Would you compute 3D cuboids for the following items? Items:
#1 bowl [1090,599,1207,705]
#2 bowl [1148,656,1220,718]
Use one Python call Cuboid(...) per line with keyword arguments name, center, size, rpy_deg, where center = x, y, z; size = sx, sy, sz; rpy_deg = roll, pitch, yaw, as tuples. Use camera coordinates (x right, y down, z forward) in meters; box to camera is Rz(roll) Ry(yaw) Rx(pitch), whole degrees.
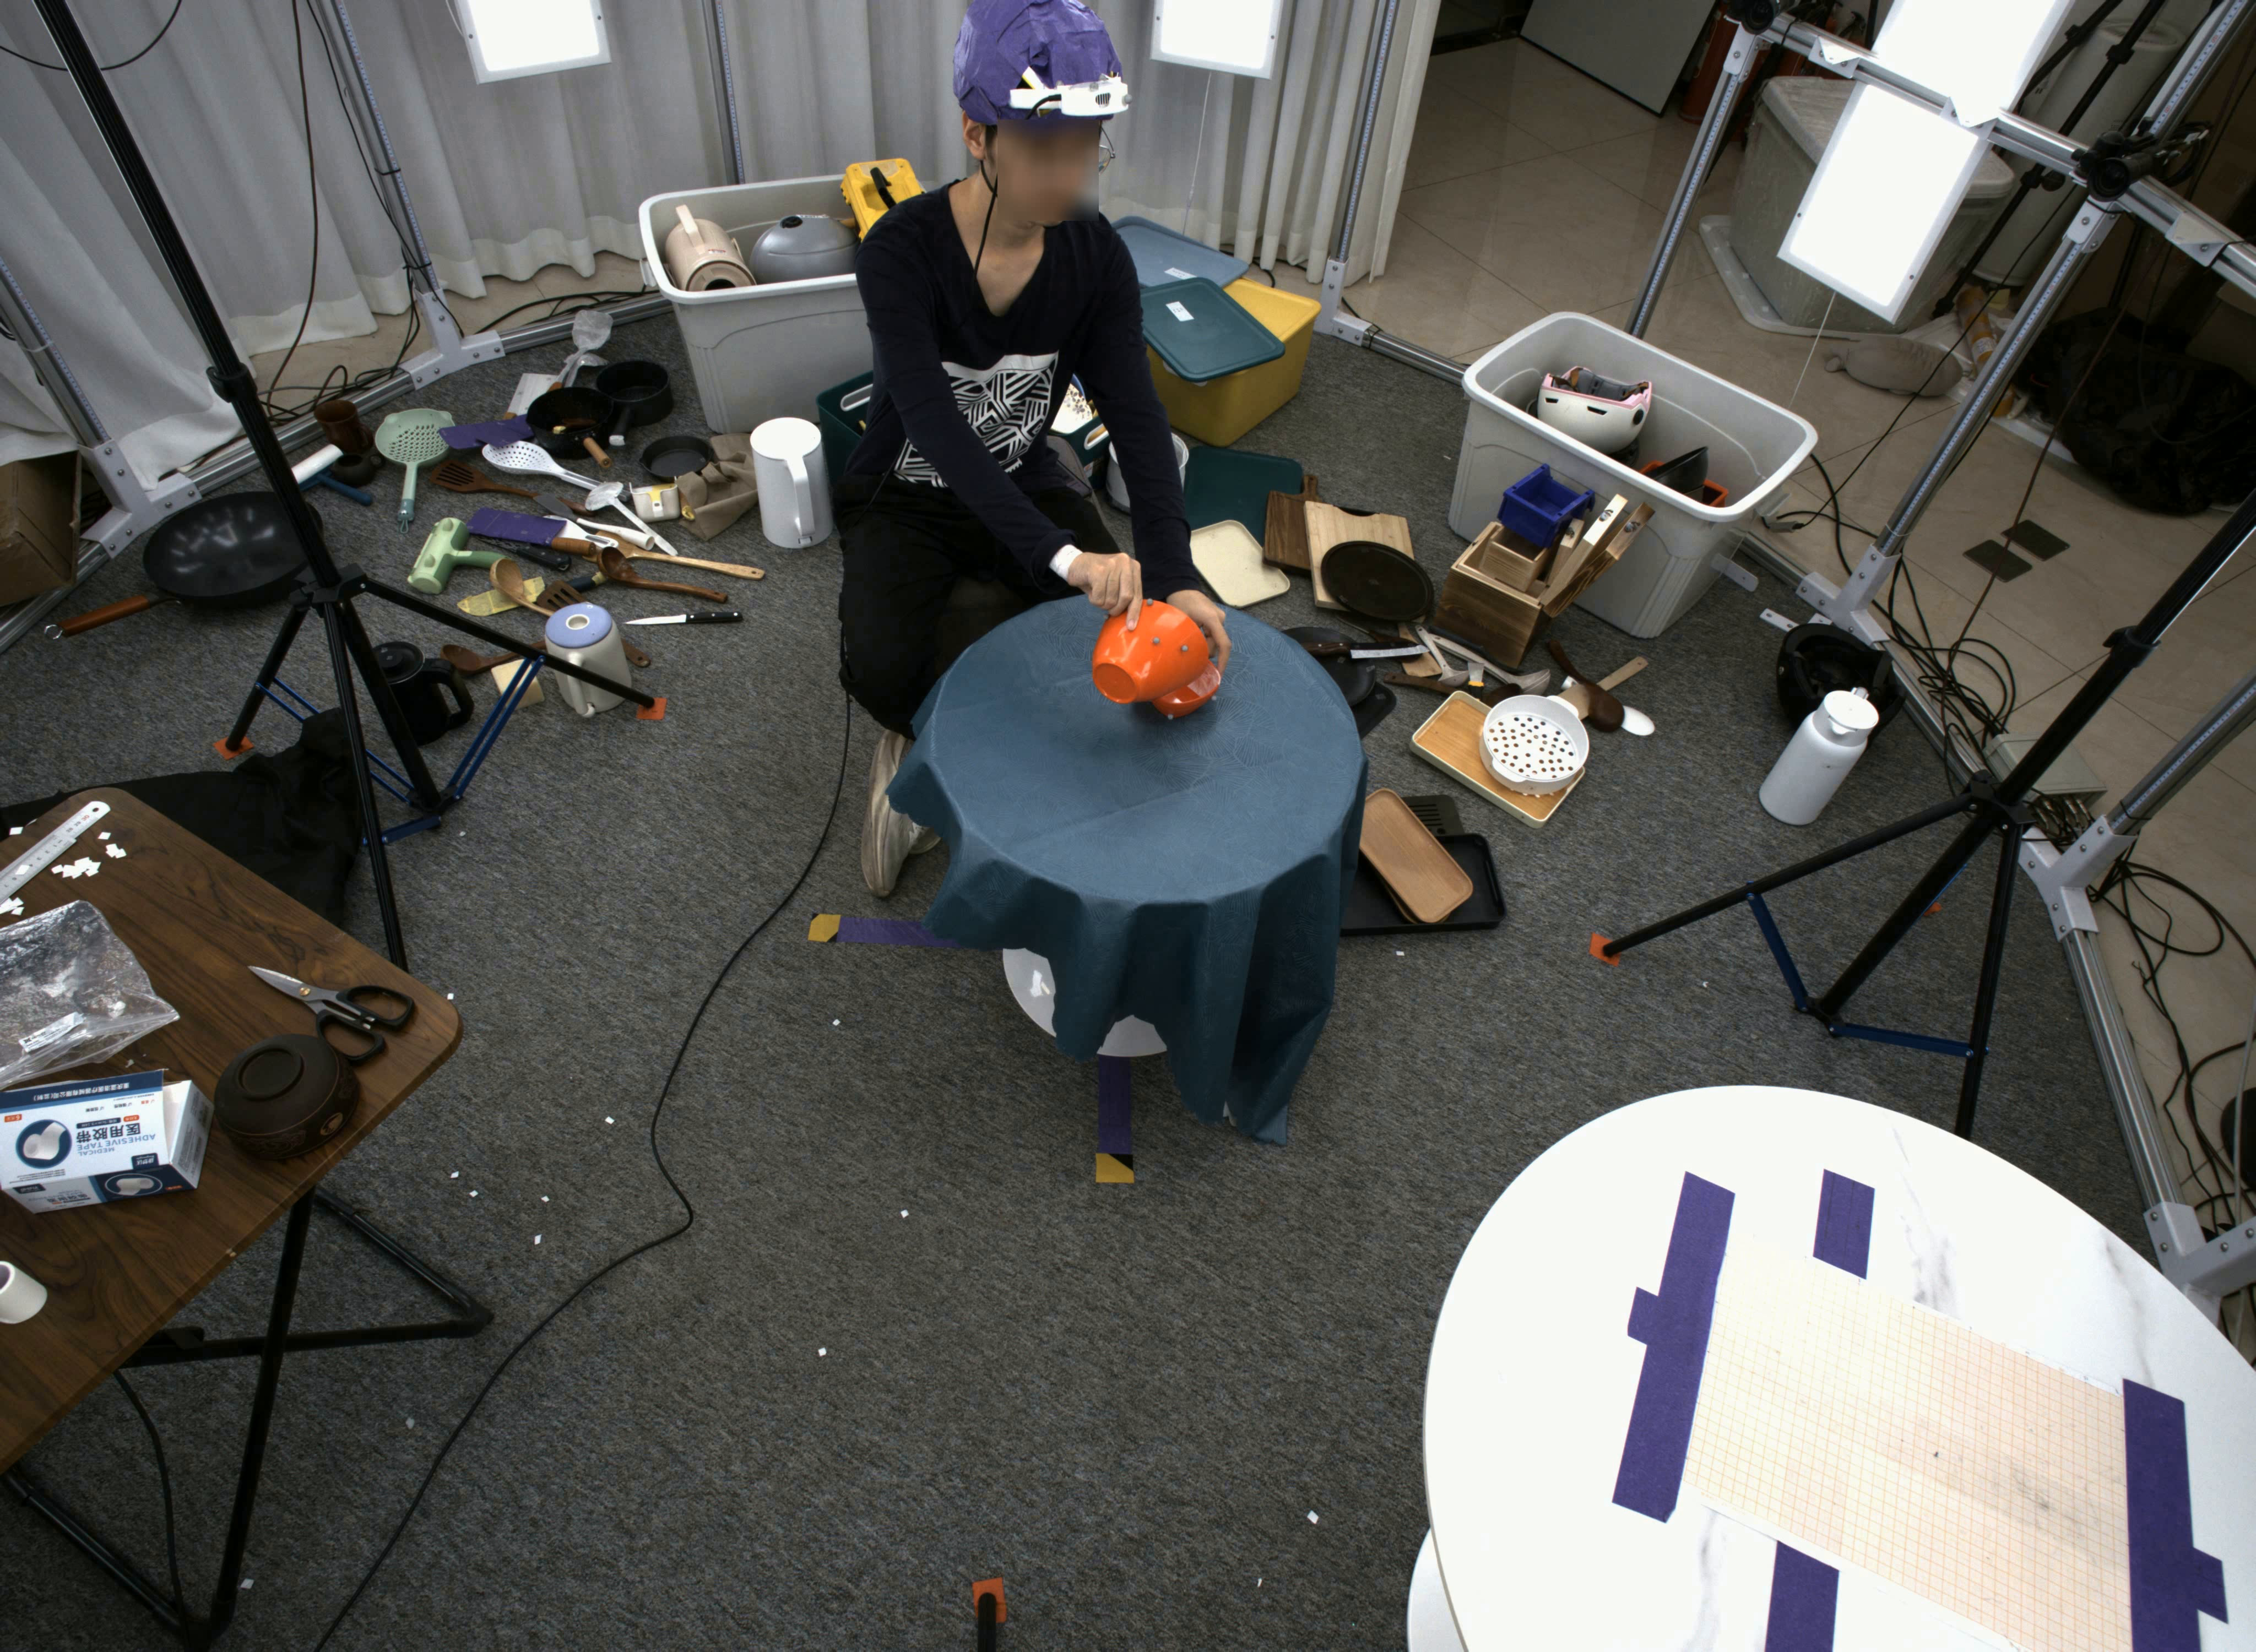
Cuboid(name="bowl", center=(0.015, -0.214, 1.680), size=(0.149, 0.144, 0.106), rpy_deg=(25, 53, 16))
Cuboid(name="bowl", center=(0.069, -0.198, 1.812), size=(0.119, 0.050, 0.122), rpy_deg=(0, 48, -1))
